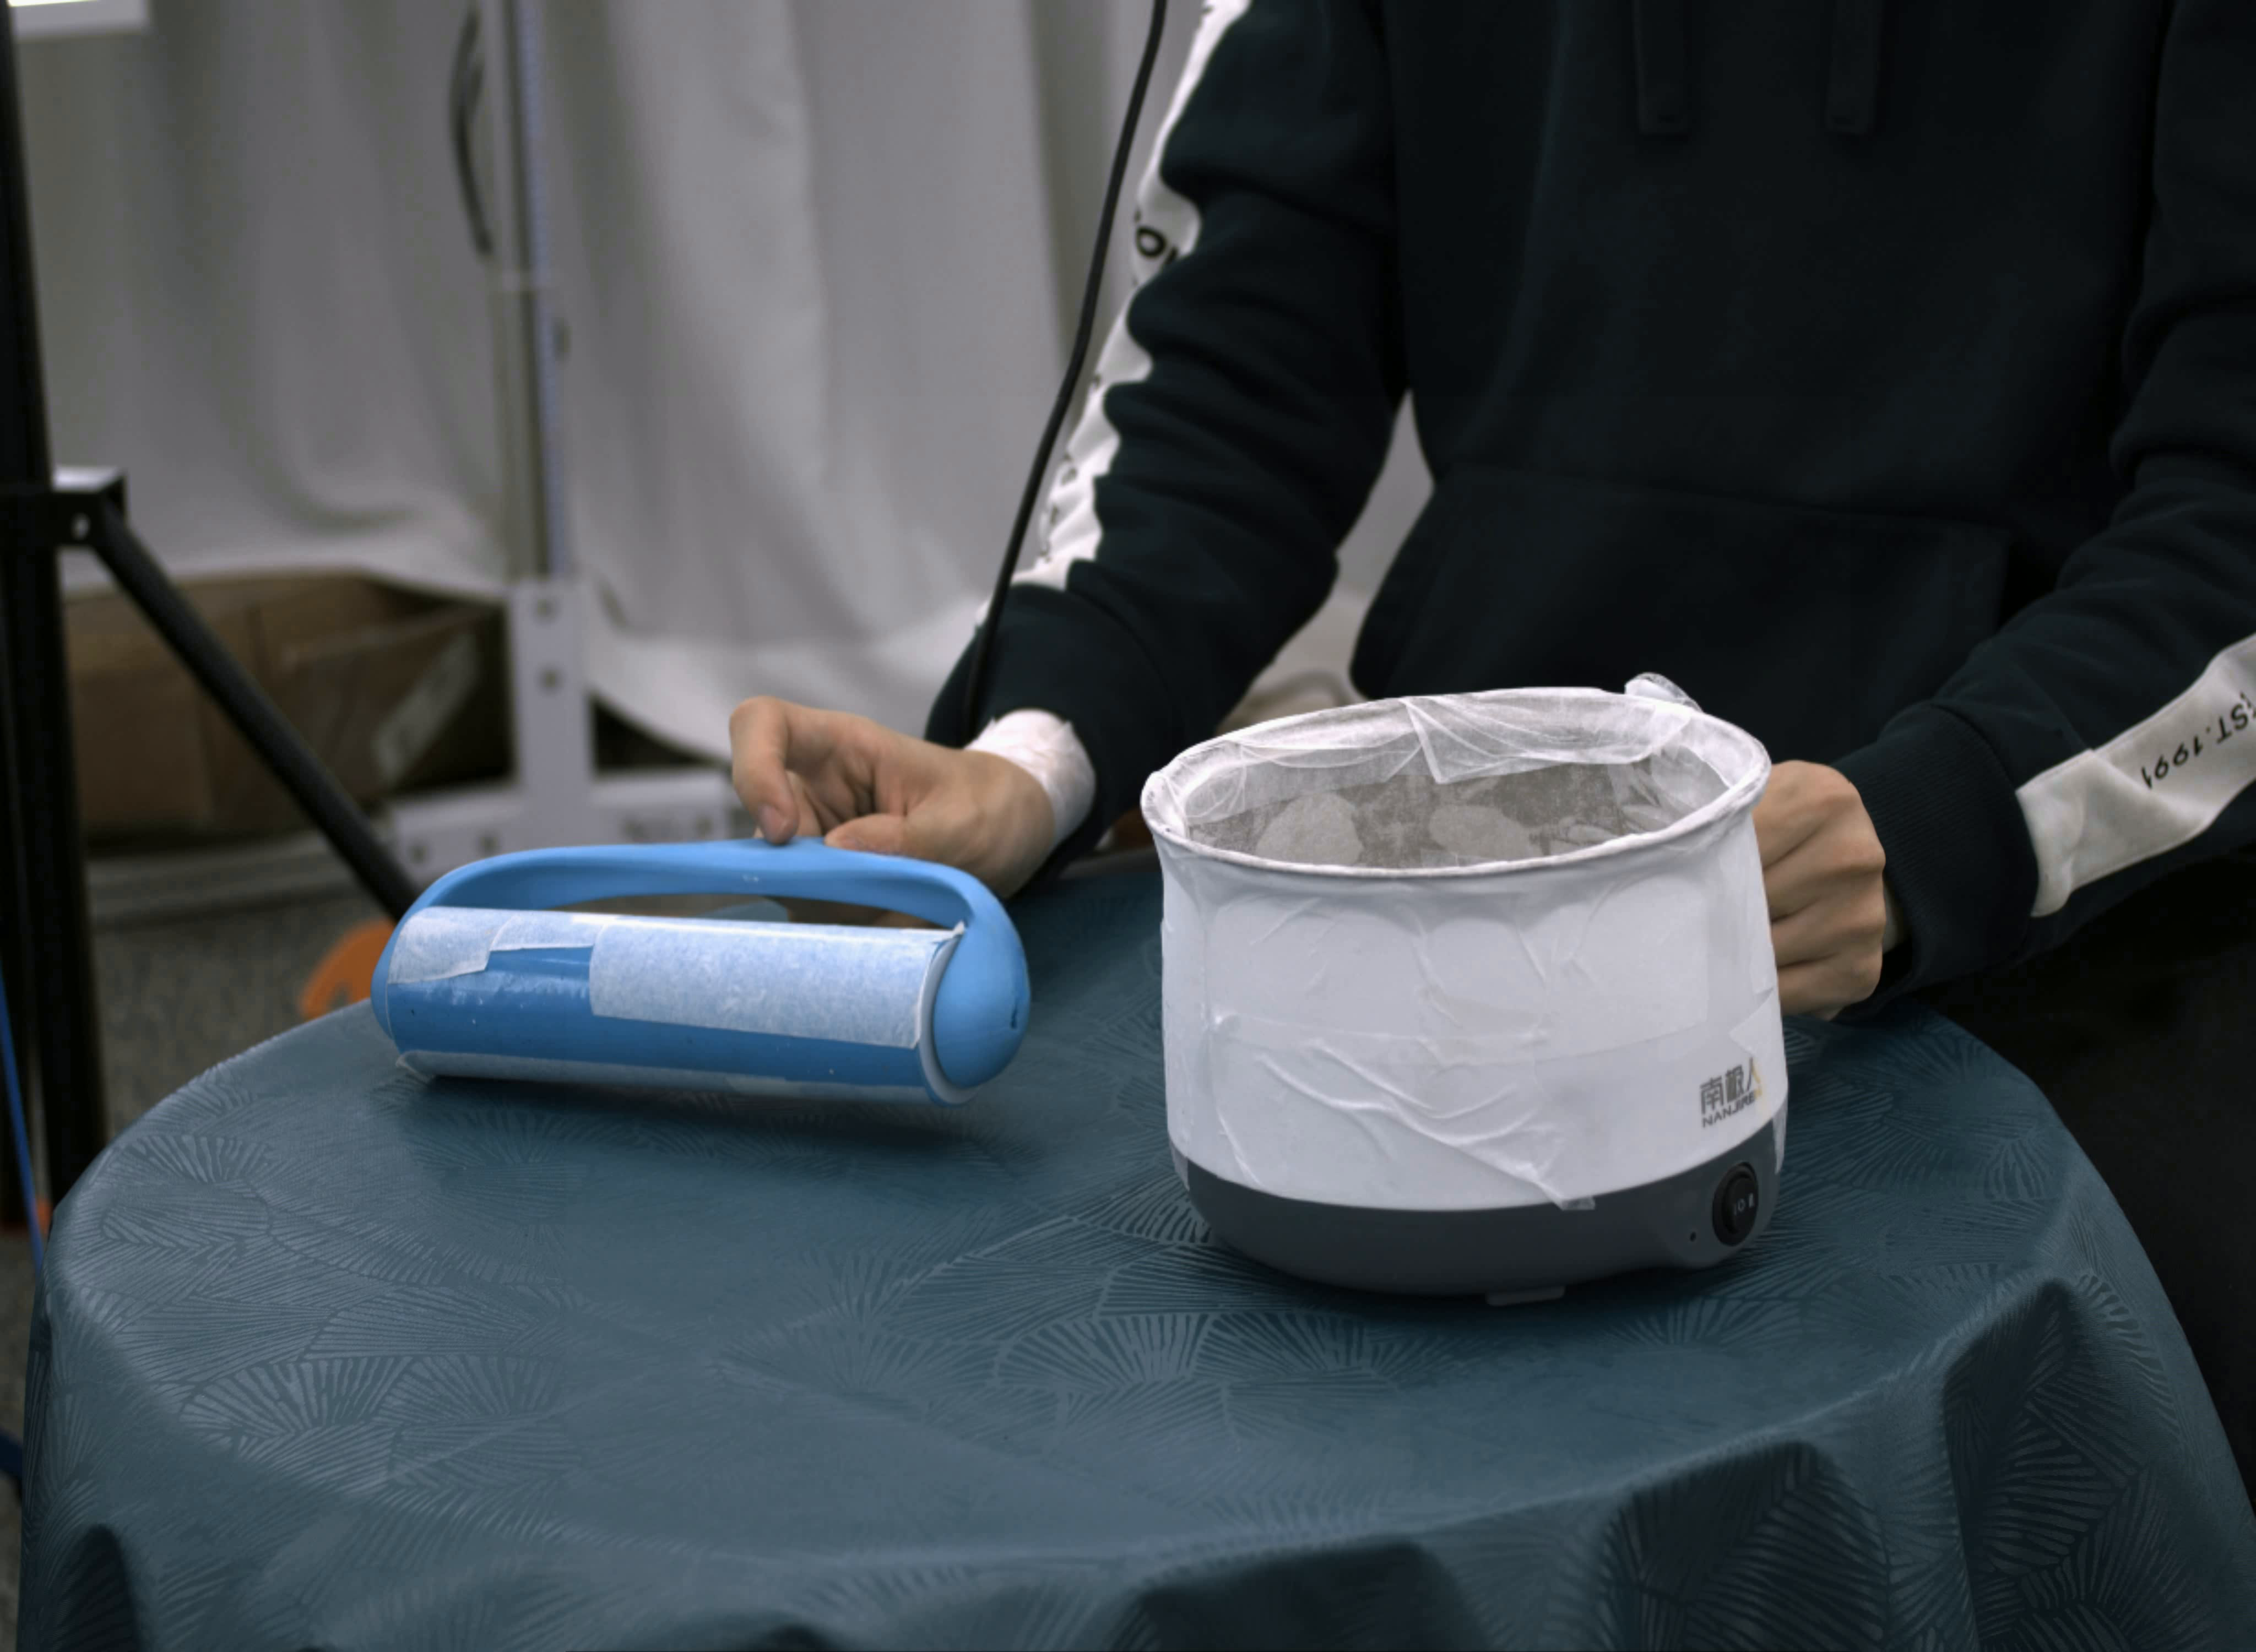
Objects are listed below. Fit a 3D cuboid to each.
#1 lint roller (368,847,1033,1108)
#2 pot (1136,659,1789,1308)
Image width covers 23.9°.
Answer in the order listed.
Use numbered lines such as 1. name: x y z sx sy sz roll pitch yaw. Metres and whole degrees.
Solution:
1. lint roller: -0.112 0.037 1.694 0.232 0.068 0.178 -2 18 26
2. pot: 0.113 0.038 1.514 0.182 0.136 0.229 8 22 38
